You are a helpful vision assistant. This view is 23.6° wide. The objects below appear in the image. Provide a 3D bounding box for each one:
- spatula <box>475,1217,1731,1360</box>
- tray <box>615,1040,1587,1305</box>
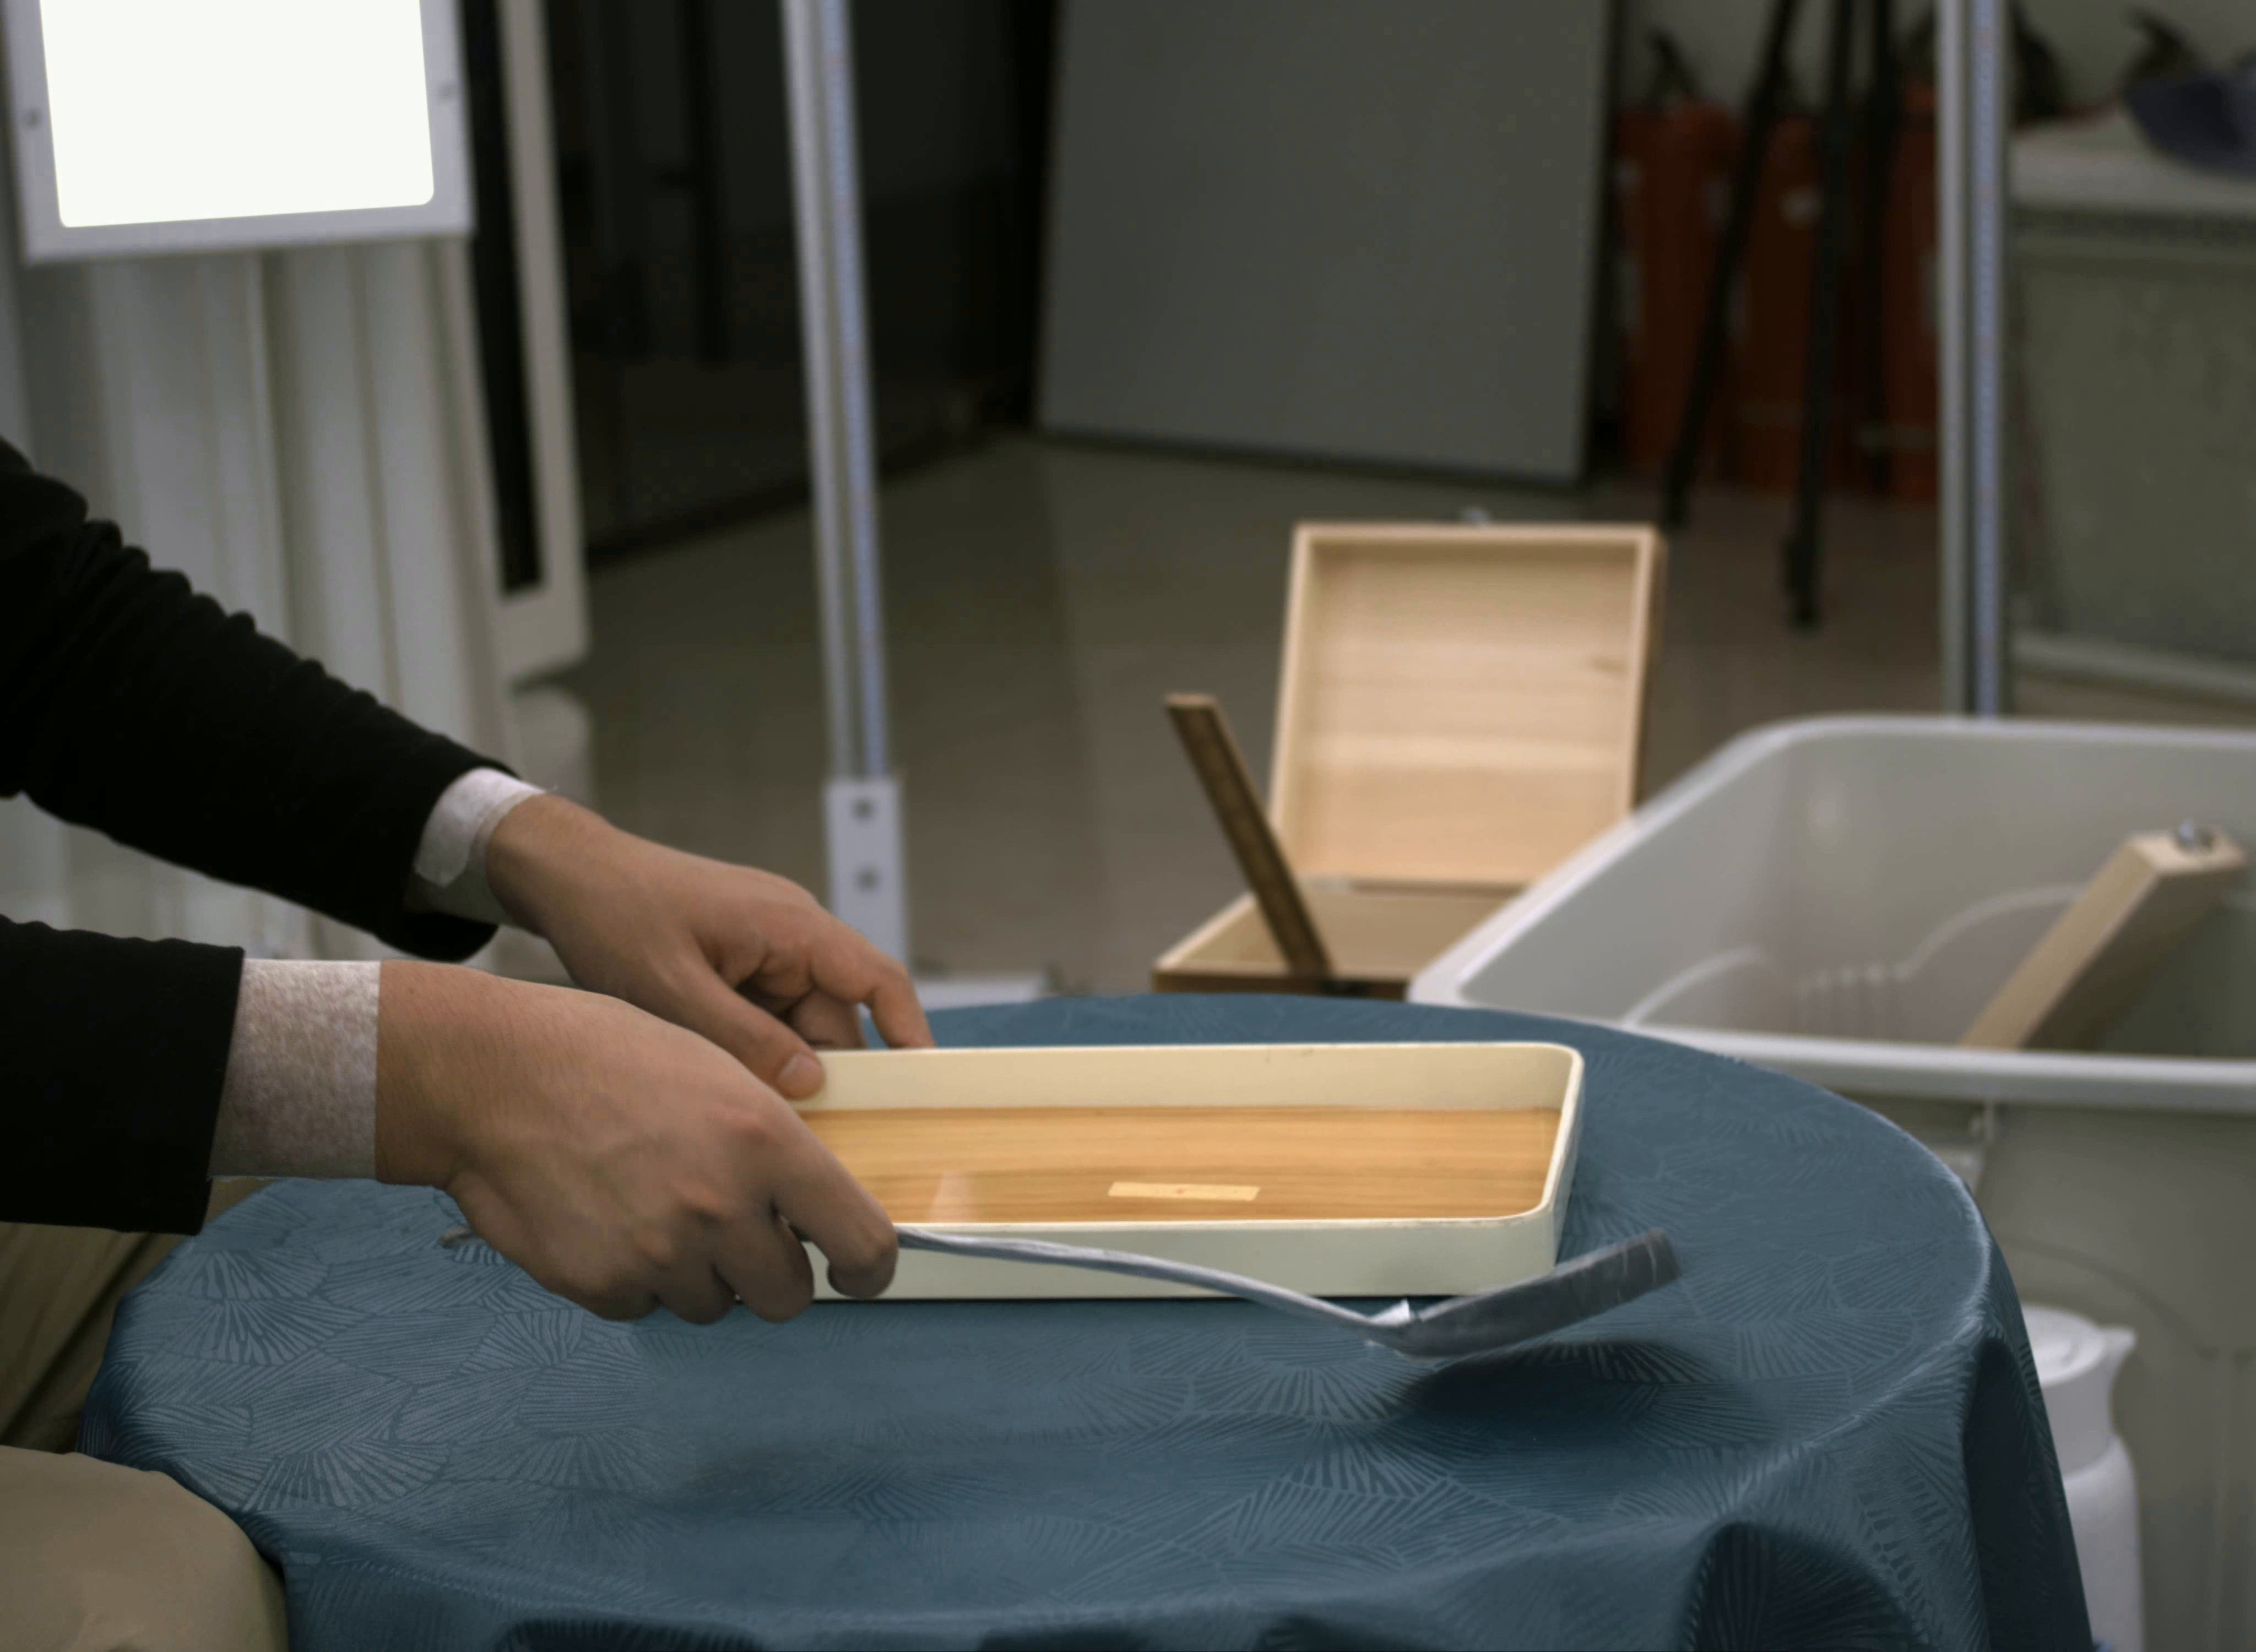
[{"bbox_3d":[-0.006,0.123,1.553,0.360,0.045,0.099,6,-14,-2],"label":"spatula"},{"bbox_3d":[-0.004,0.112,1.752,0.298,0.028,0.191,-2,14,11],"label":"tray"}]
